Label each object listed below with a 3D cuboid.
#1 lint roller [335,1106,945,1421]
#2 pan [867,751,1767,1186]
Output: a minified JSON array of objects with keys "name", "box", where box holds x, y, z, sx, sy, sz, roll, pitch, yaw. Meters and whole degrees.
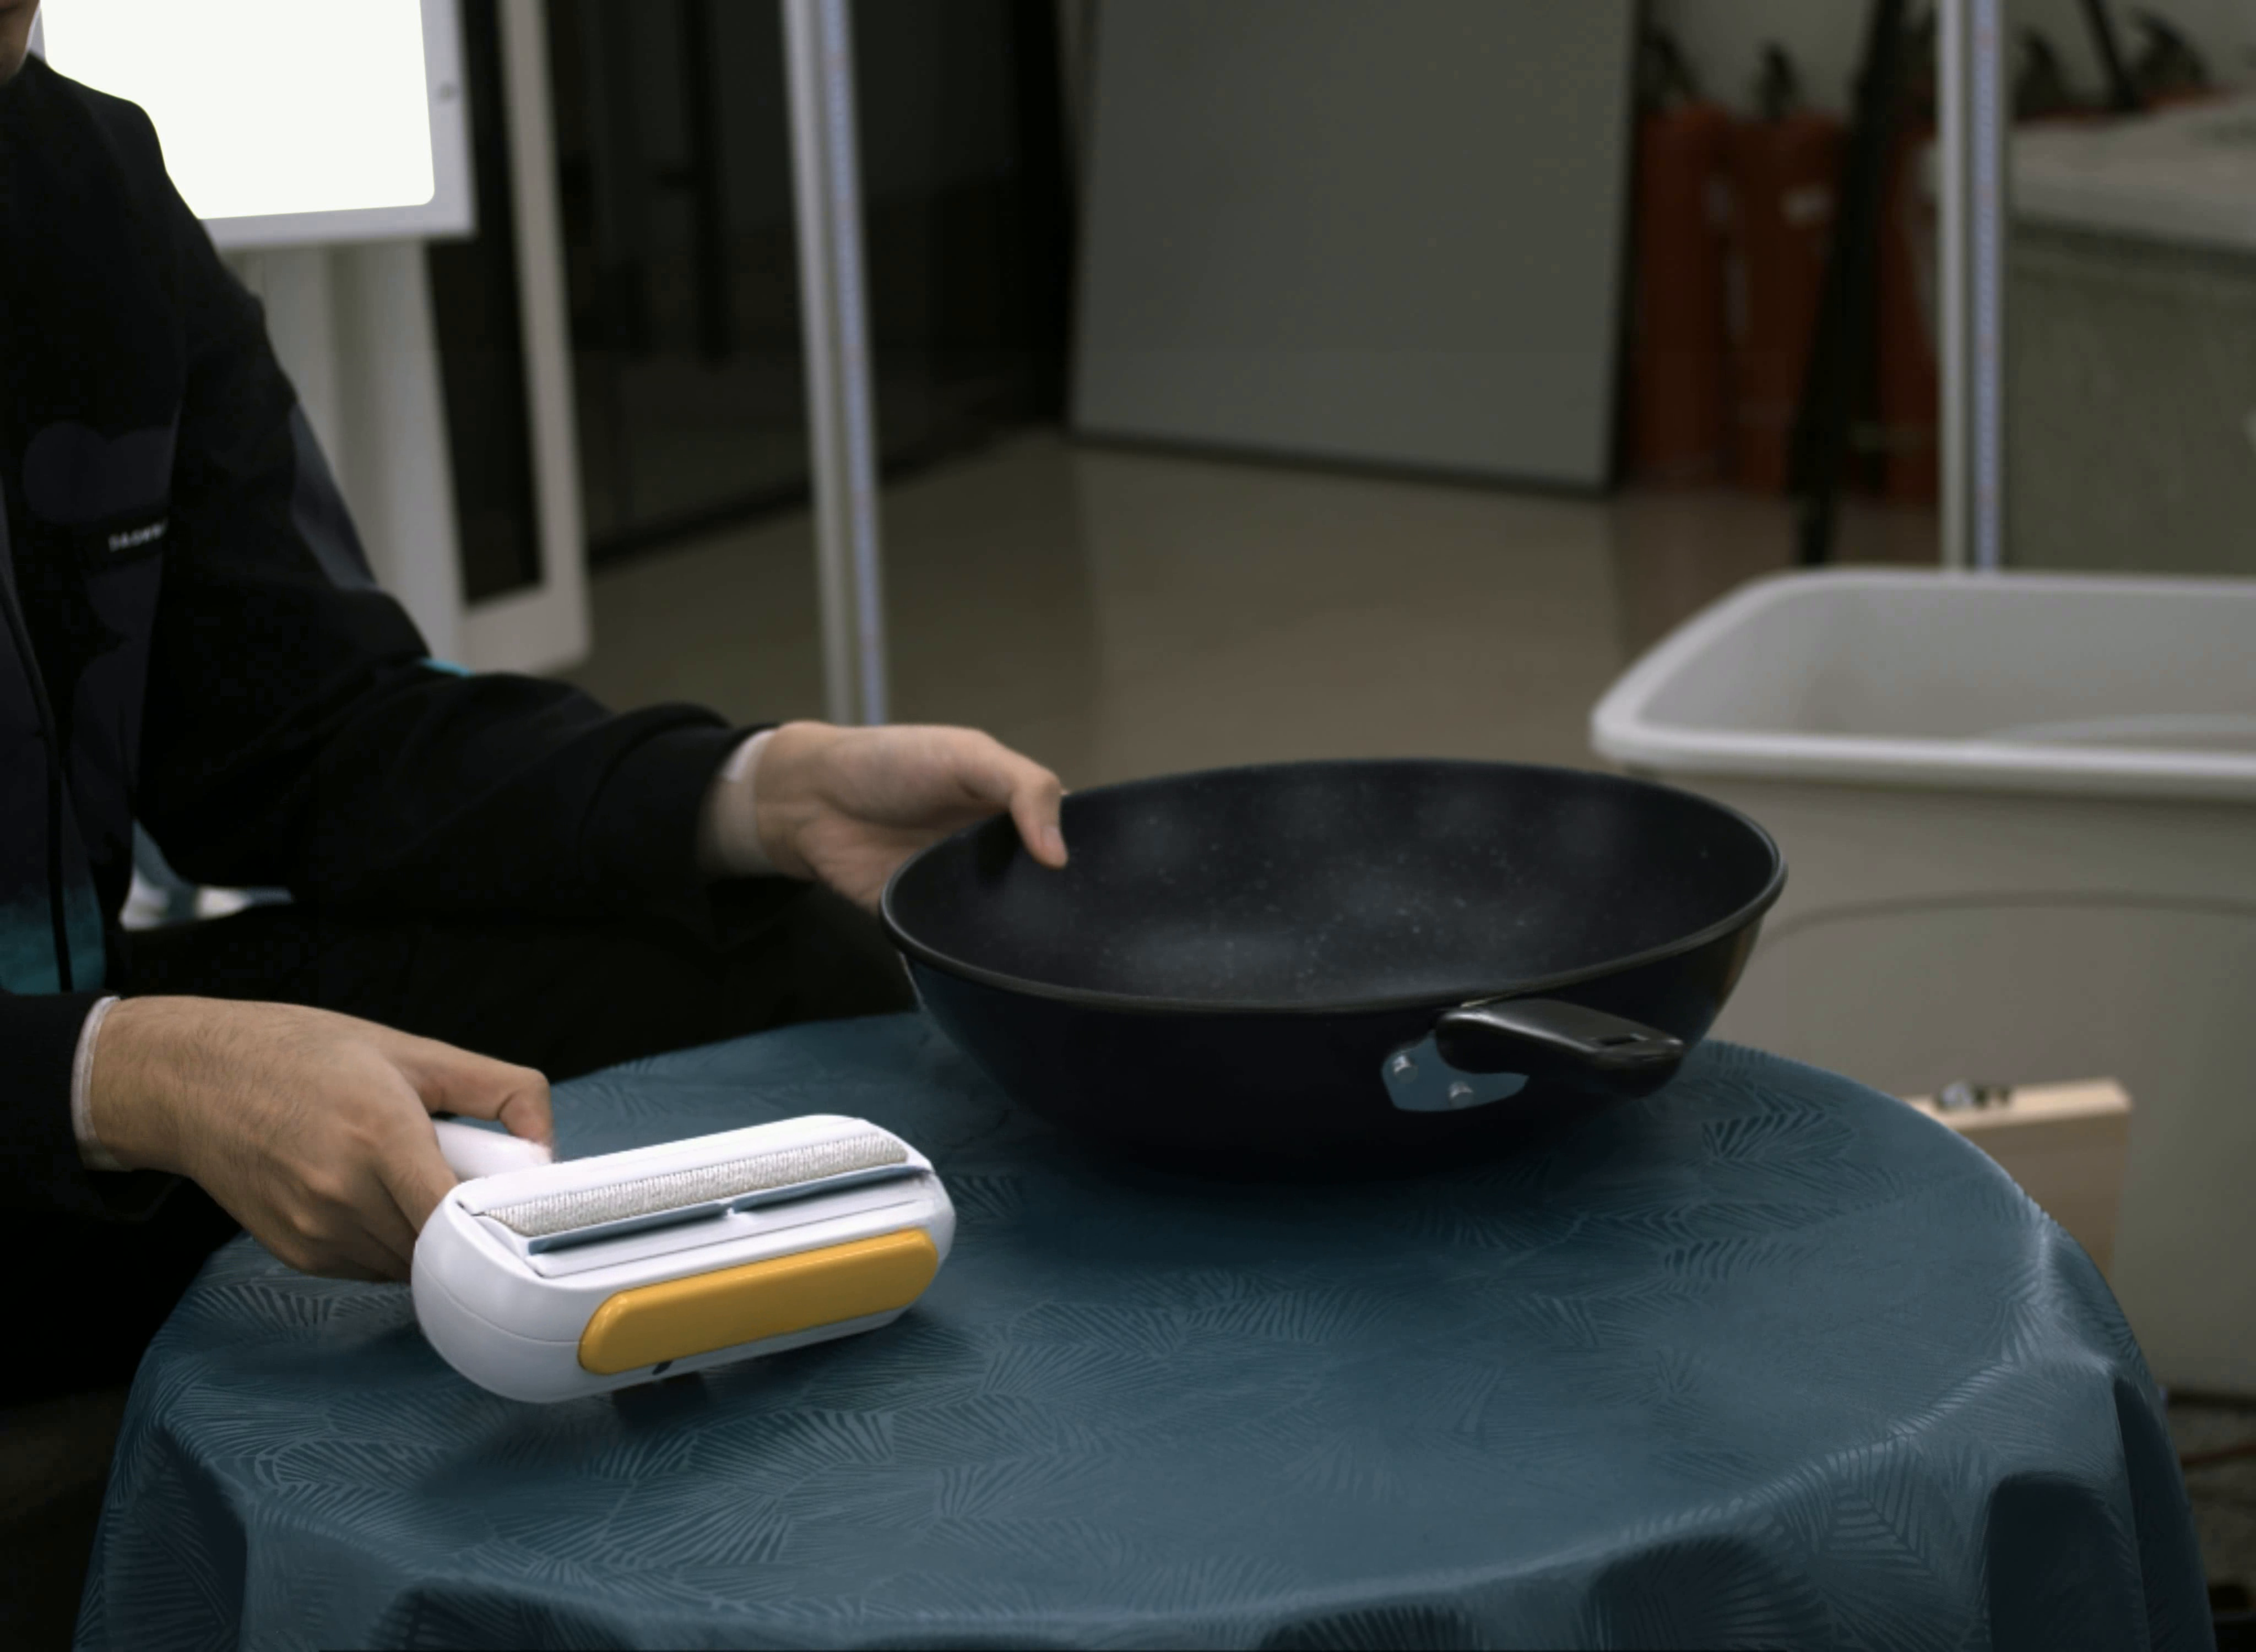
[{"name":"lint roller","box":[-0.176,0.115,1.652,0.188,0.075,0.194,-11,28,-41]},{"name":"pan","box":[0.088,0.063,1.756,0.304,0.113,0.480,-9,15,-13]}]
